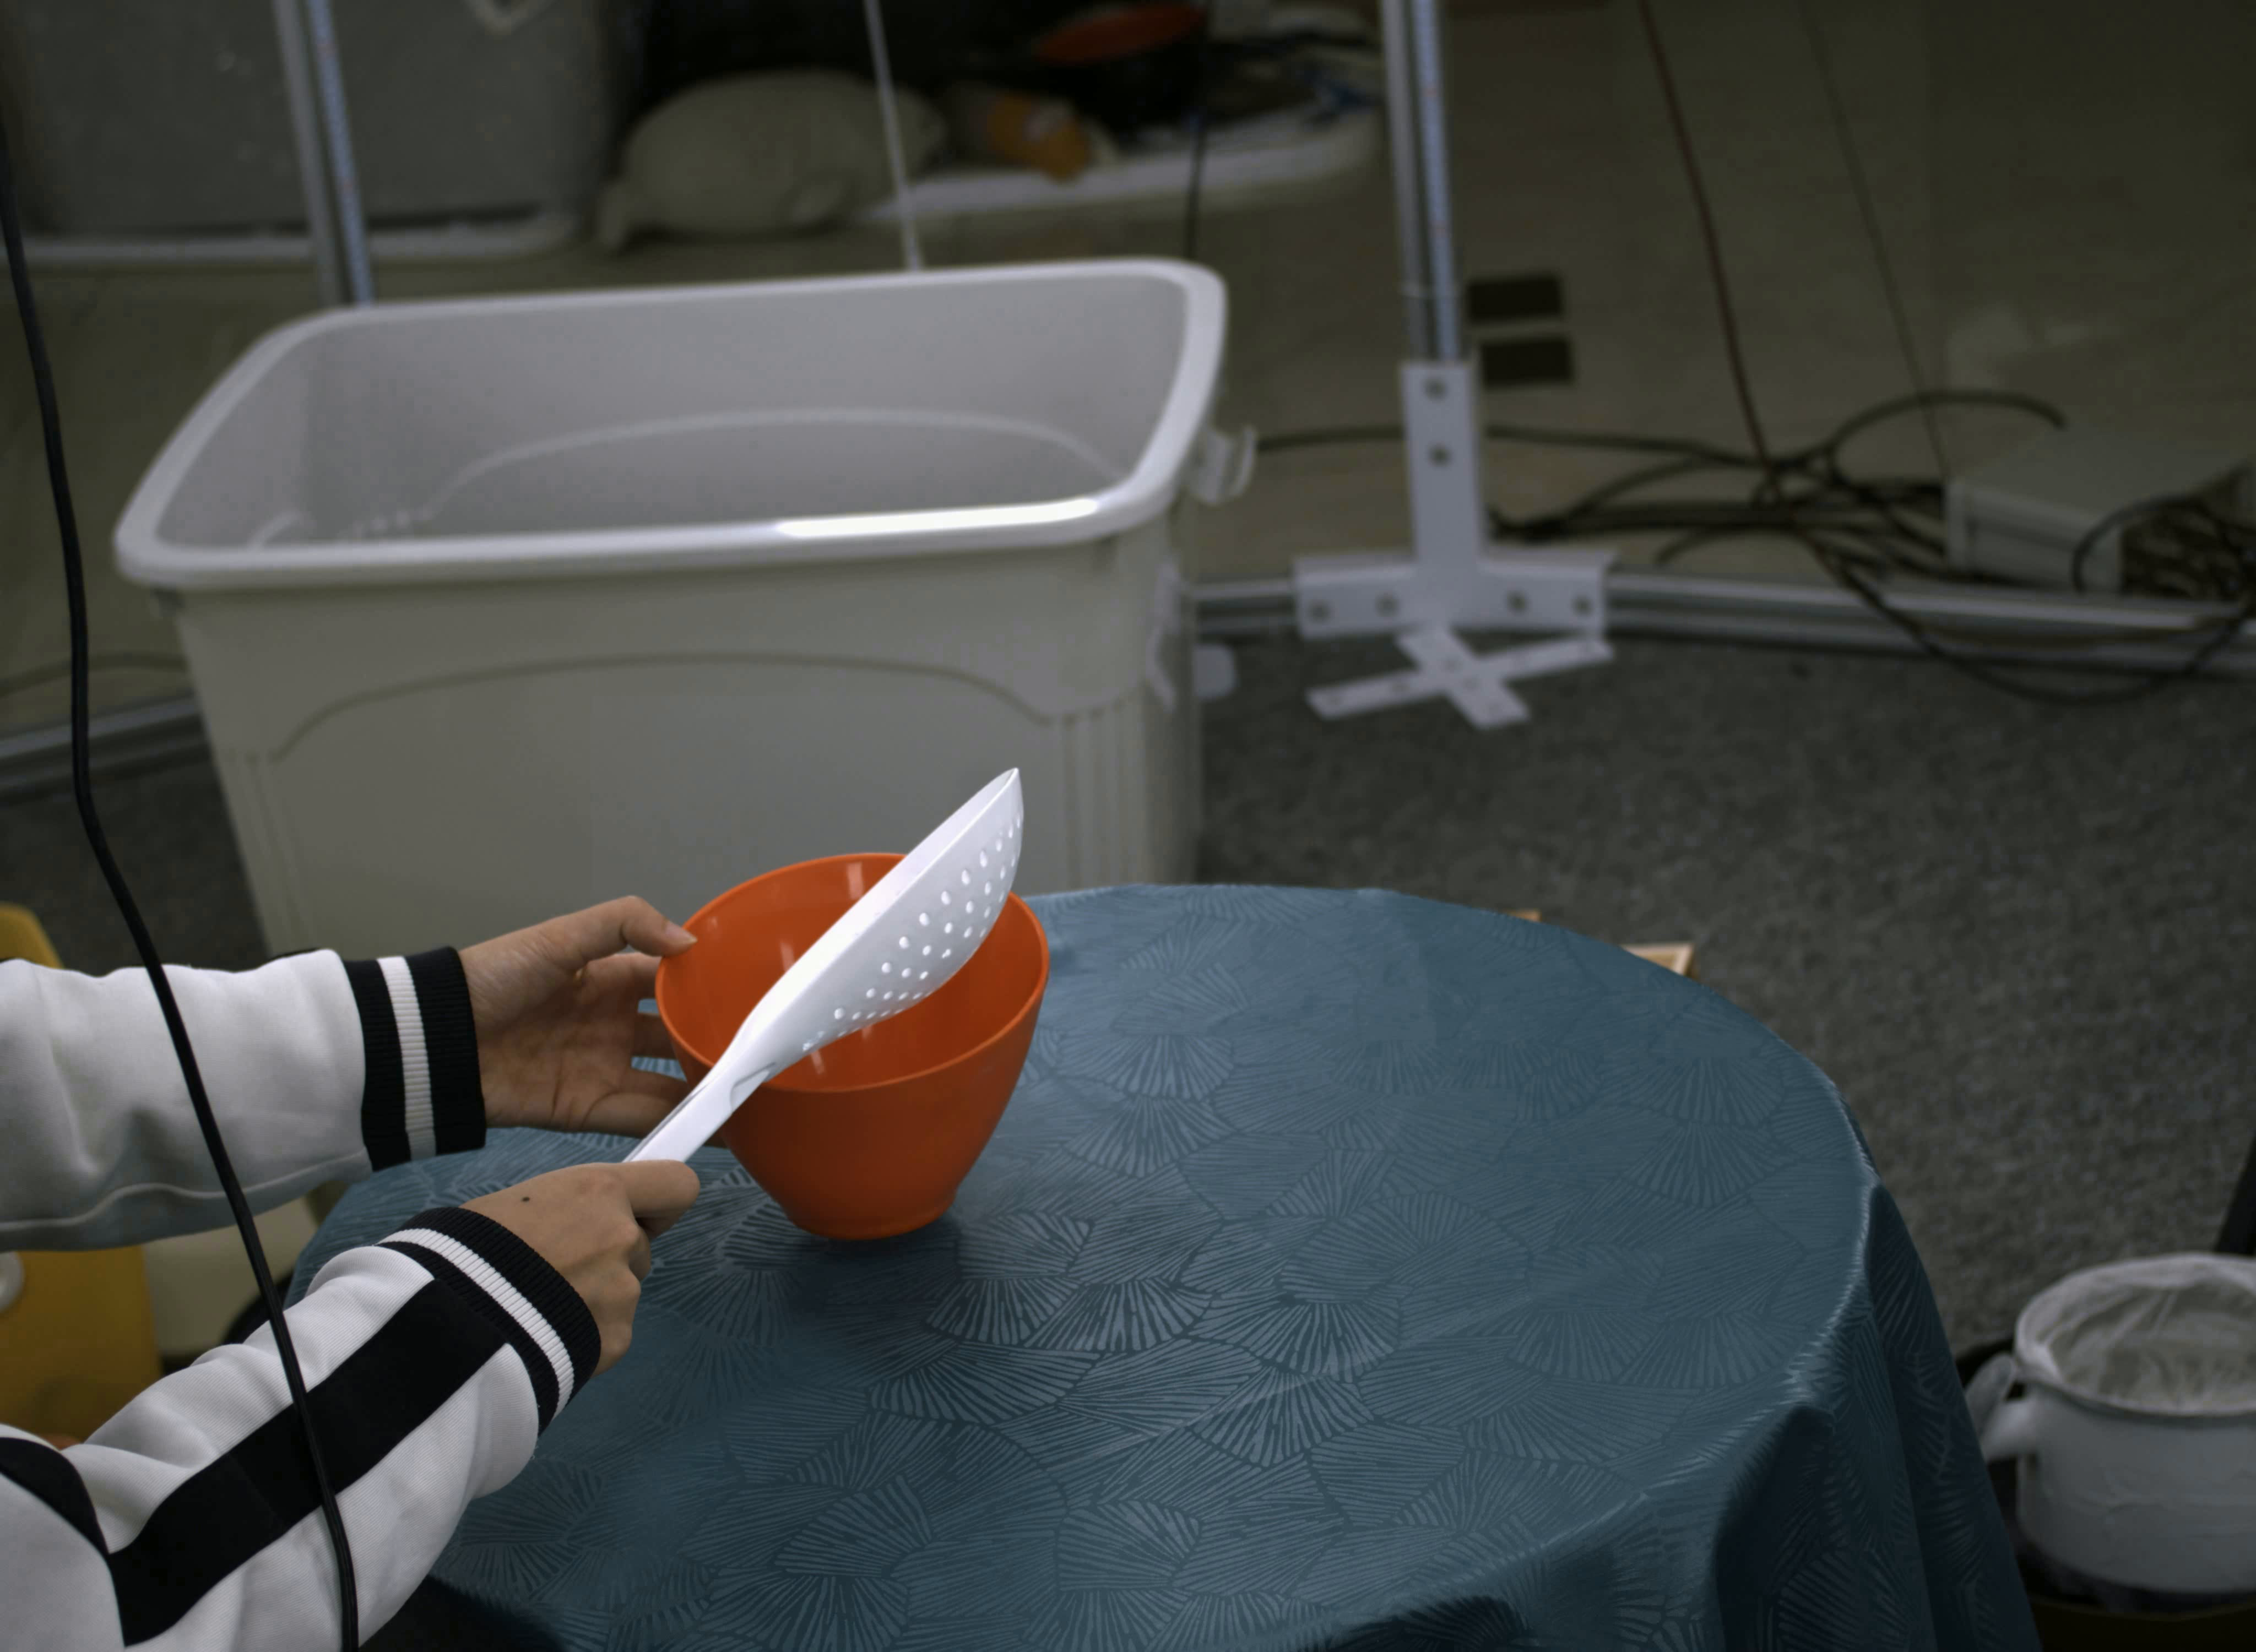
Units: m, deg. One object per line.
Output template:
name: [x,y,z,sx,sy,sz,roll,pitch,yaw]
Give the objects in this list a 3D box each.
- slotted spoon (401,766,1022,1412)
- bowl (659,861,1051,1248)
slotted spoon: [-0.143,0.091,2.003,0.345,0.046,0.137,-41,1,-39]
bowl: [-0.100,0.092,2.132,0.148,0.106,0.146,-2,27,1]
